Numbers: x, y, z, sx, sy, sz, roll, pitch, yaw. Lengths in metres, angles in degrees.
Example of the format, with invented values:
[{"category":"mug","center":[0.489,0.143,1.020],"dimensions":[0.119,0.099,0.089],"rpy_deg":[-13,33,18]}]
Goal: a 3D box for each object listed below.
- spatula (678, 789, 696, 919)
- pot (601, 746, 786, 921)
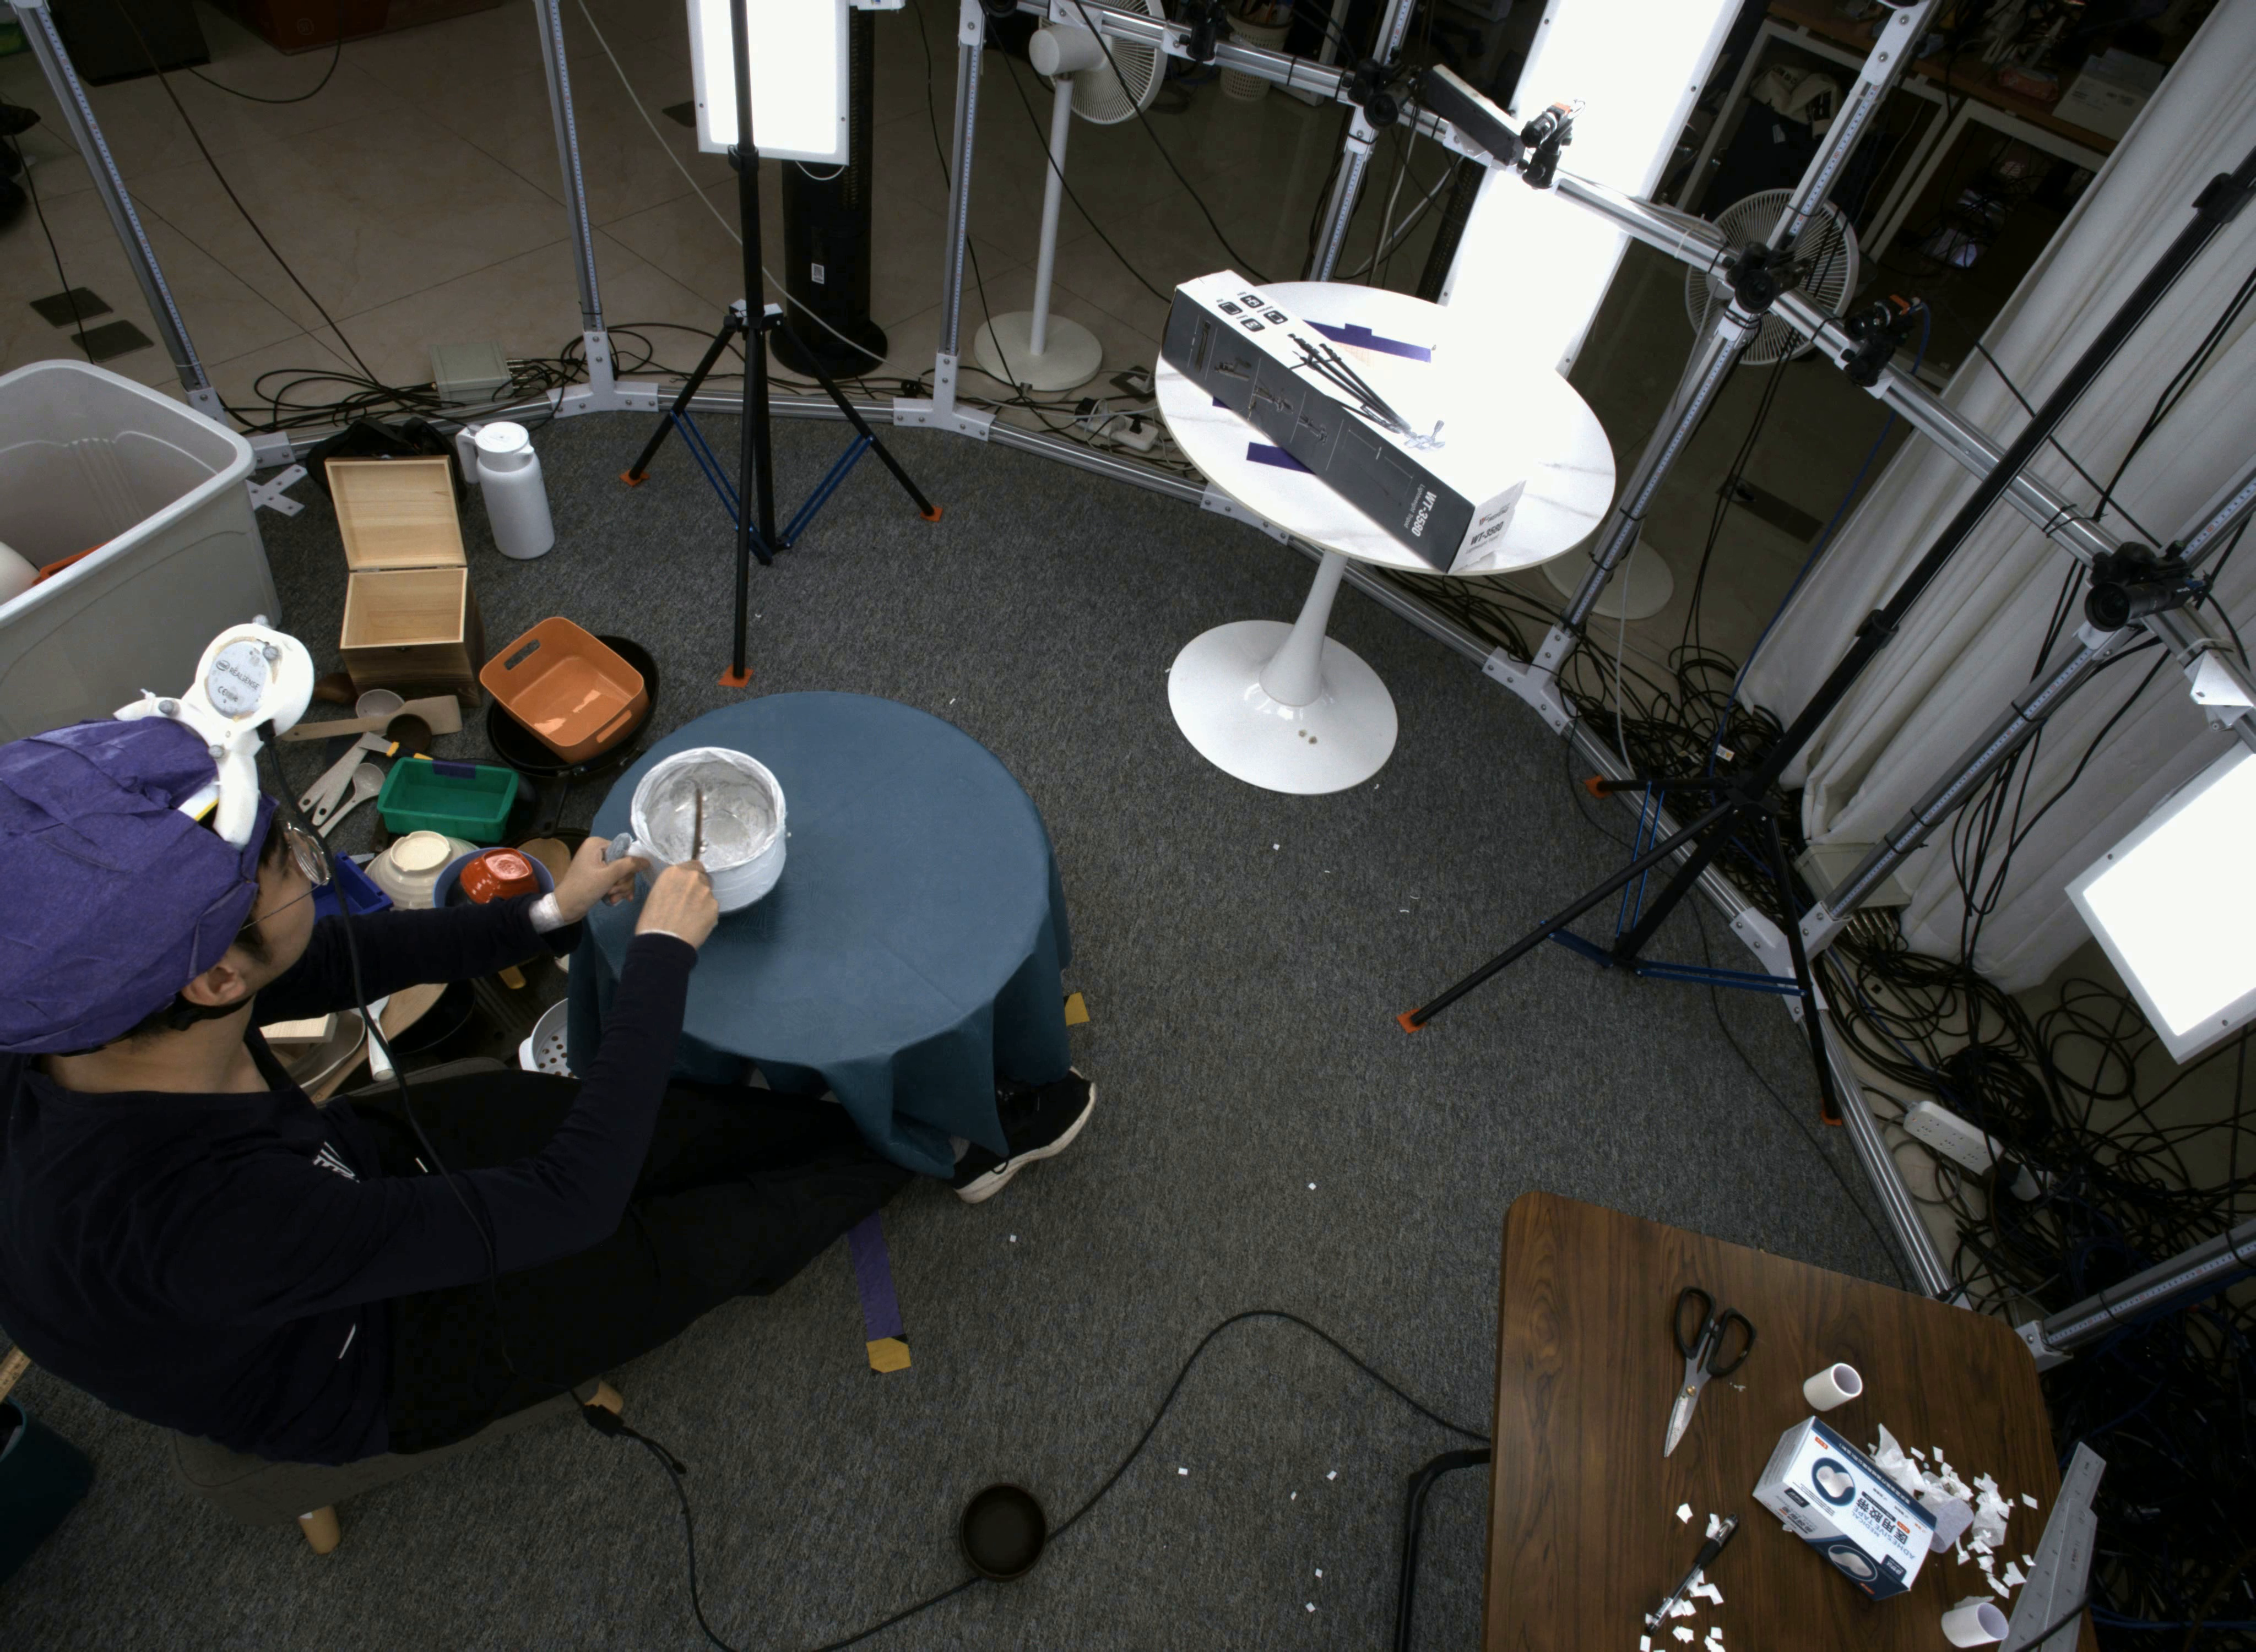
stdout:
[{"category":"spatula","center":[-0.486,0.031,1.417],"dimensions":[0.009,0.074,0.209],"rpy_deg":[1,33,-13]},{"category":"pot","center":[-0.530,0.022,1.562],"dimensions":[0.235,0.139,0.175],"rpy_deg":[-25,65,-29]}]
